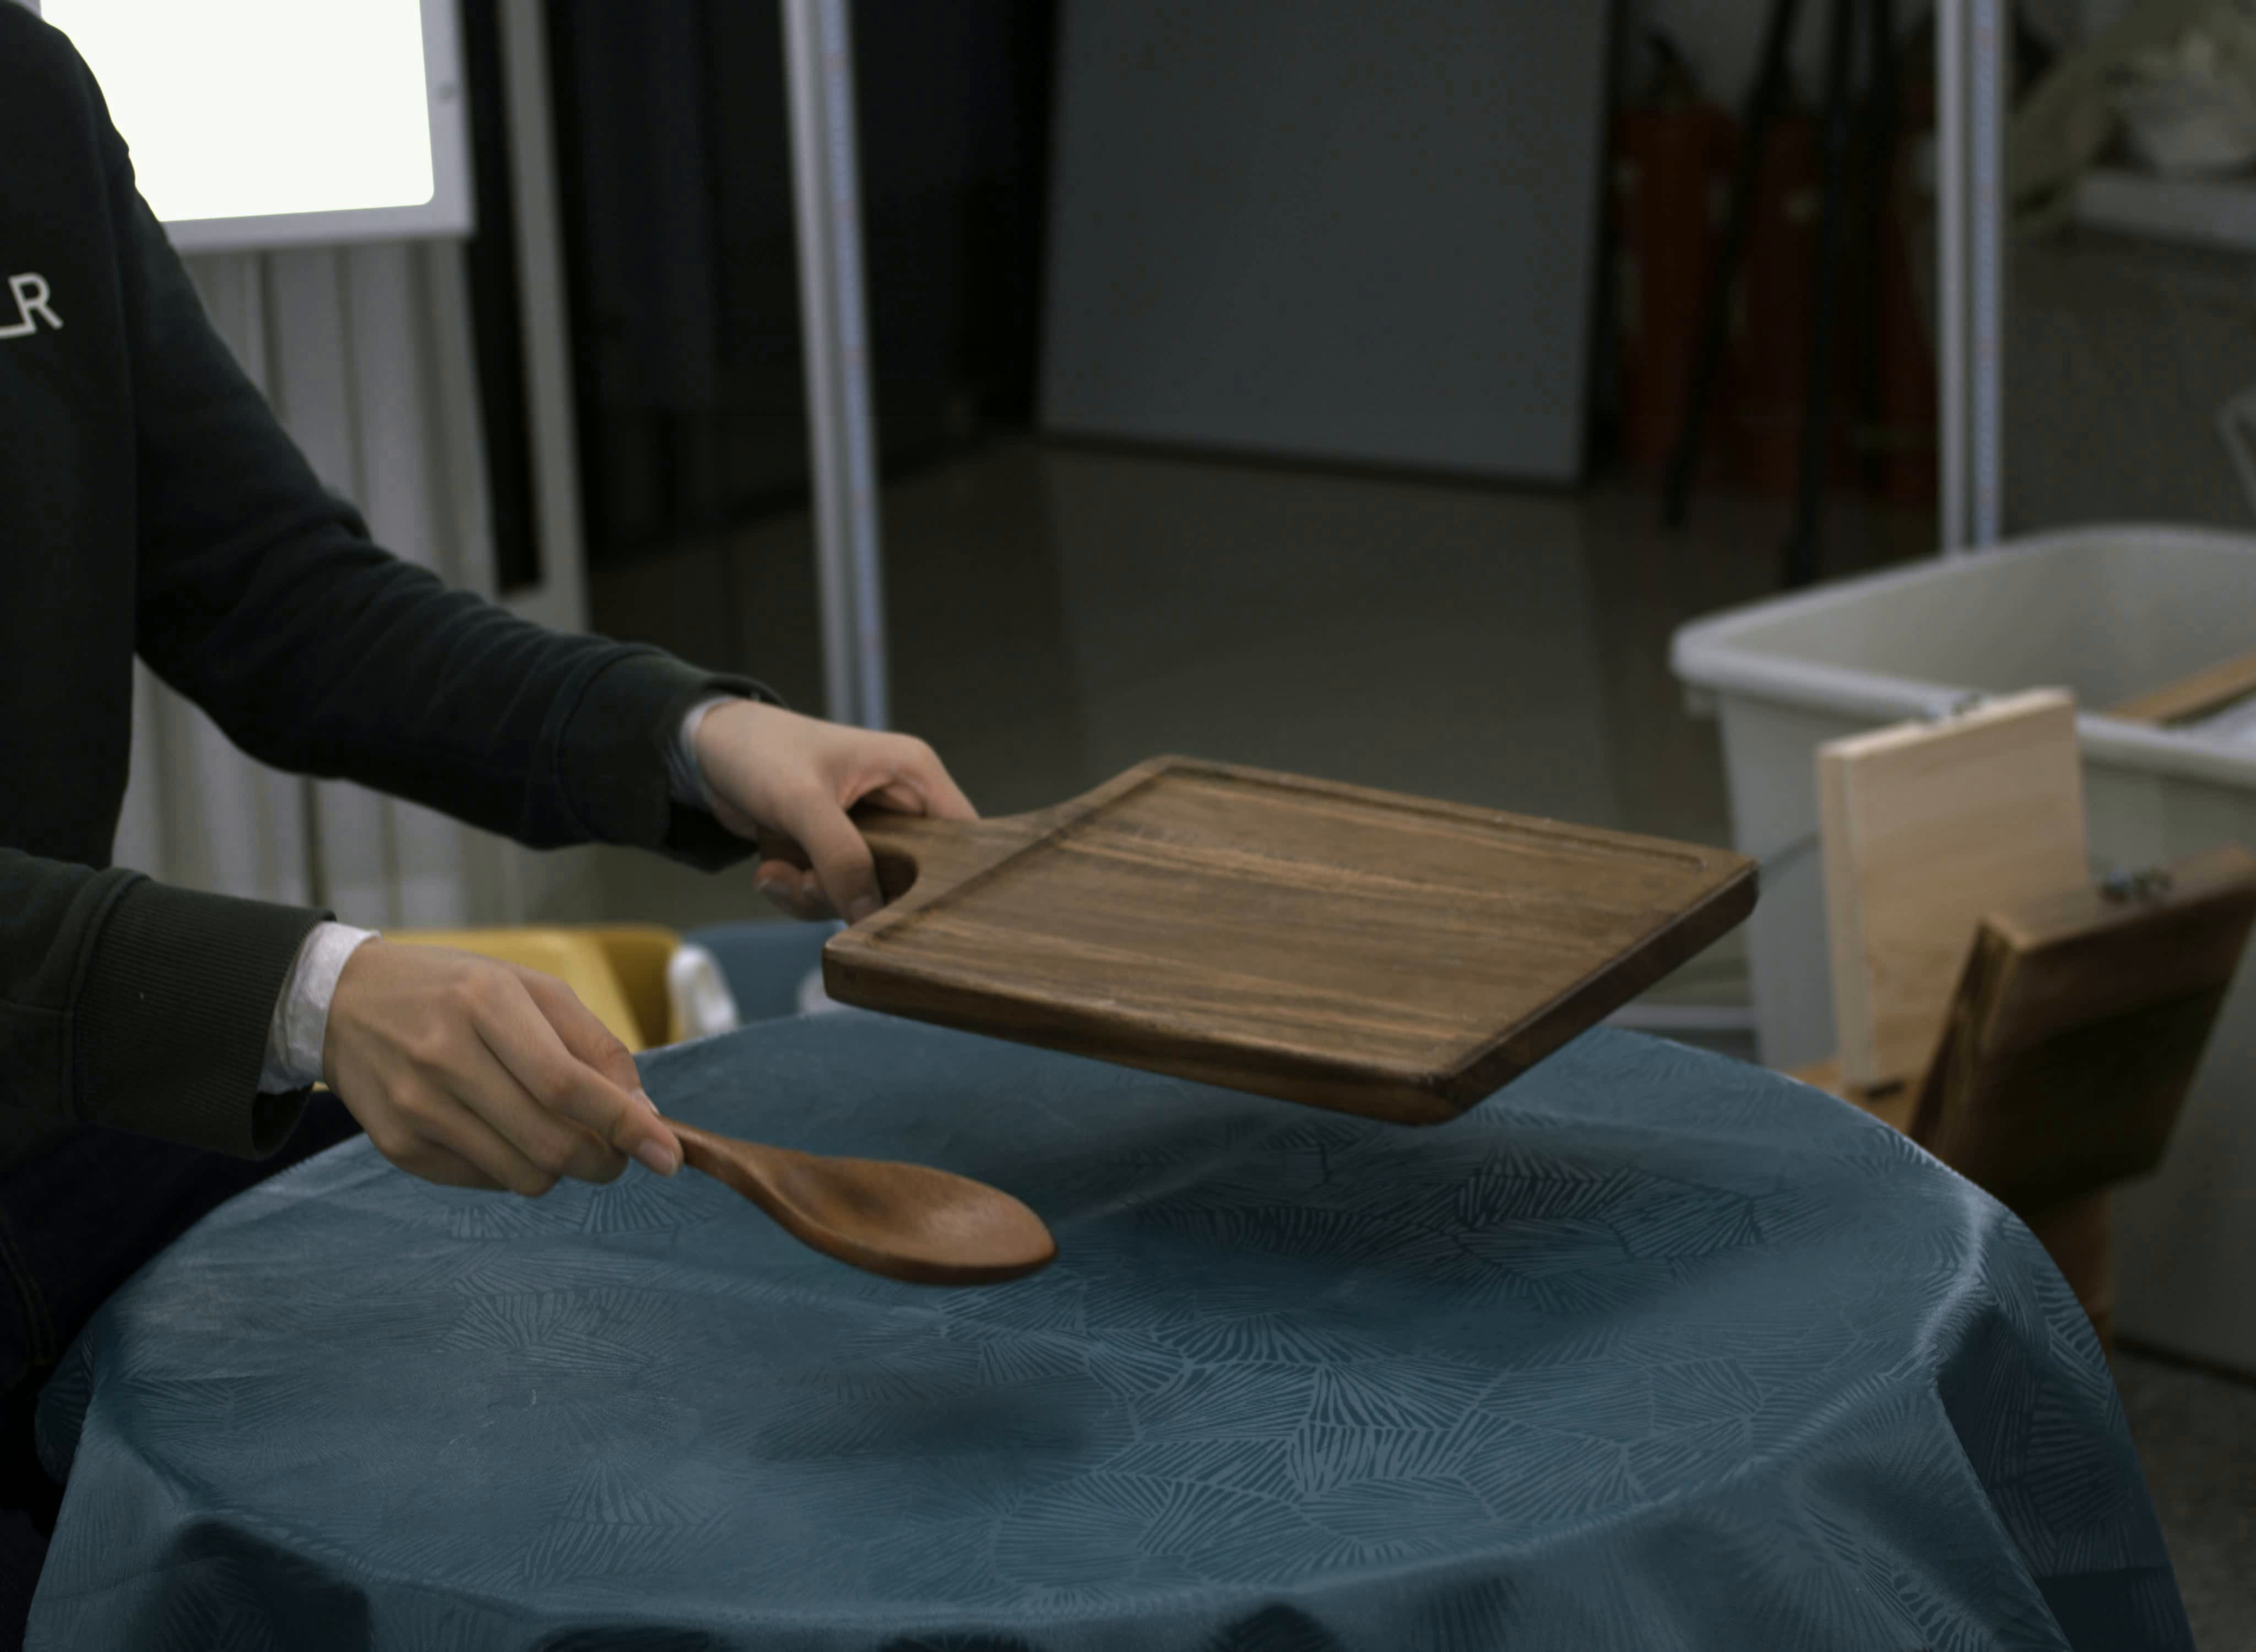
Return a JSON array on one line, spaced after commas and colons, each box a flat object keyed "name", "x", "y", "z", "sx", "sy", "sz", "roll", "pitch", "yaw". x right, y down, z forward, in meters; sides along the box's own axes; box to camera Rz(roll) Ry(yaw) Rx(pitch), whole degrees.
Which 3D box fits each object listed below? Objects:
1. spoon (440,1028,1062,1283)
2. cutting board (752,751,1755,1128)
[{"name": "spoon", "x": -0.115, "y": 0.098, "z": 1.606, "sx": 0.217, "sy": 0.017, "sz": 0.074, "roll": 18, "pitch": 22, "yaw": 27}, {"name": "cutting board", "x": 0.014, "y": 0.026, "z": 1.788, "sx": 0.355, "sy": 0.023, "sz": 0.198, "roll": 9, "pitch": 28, "yaw": 38}]
